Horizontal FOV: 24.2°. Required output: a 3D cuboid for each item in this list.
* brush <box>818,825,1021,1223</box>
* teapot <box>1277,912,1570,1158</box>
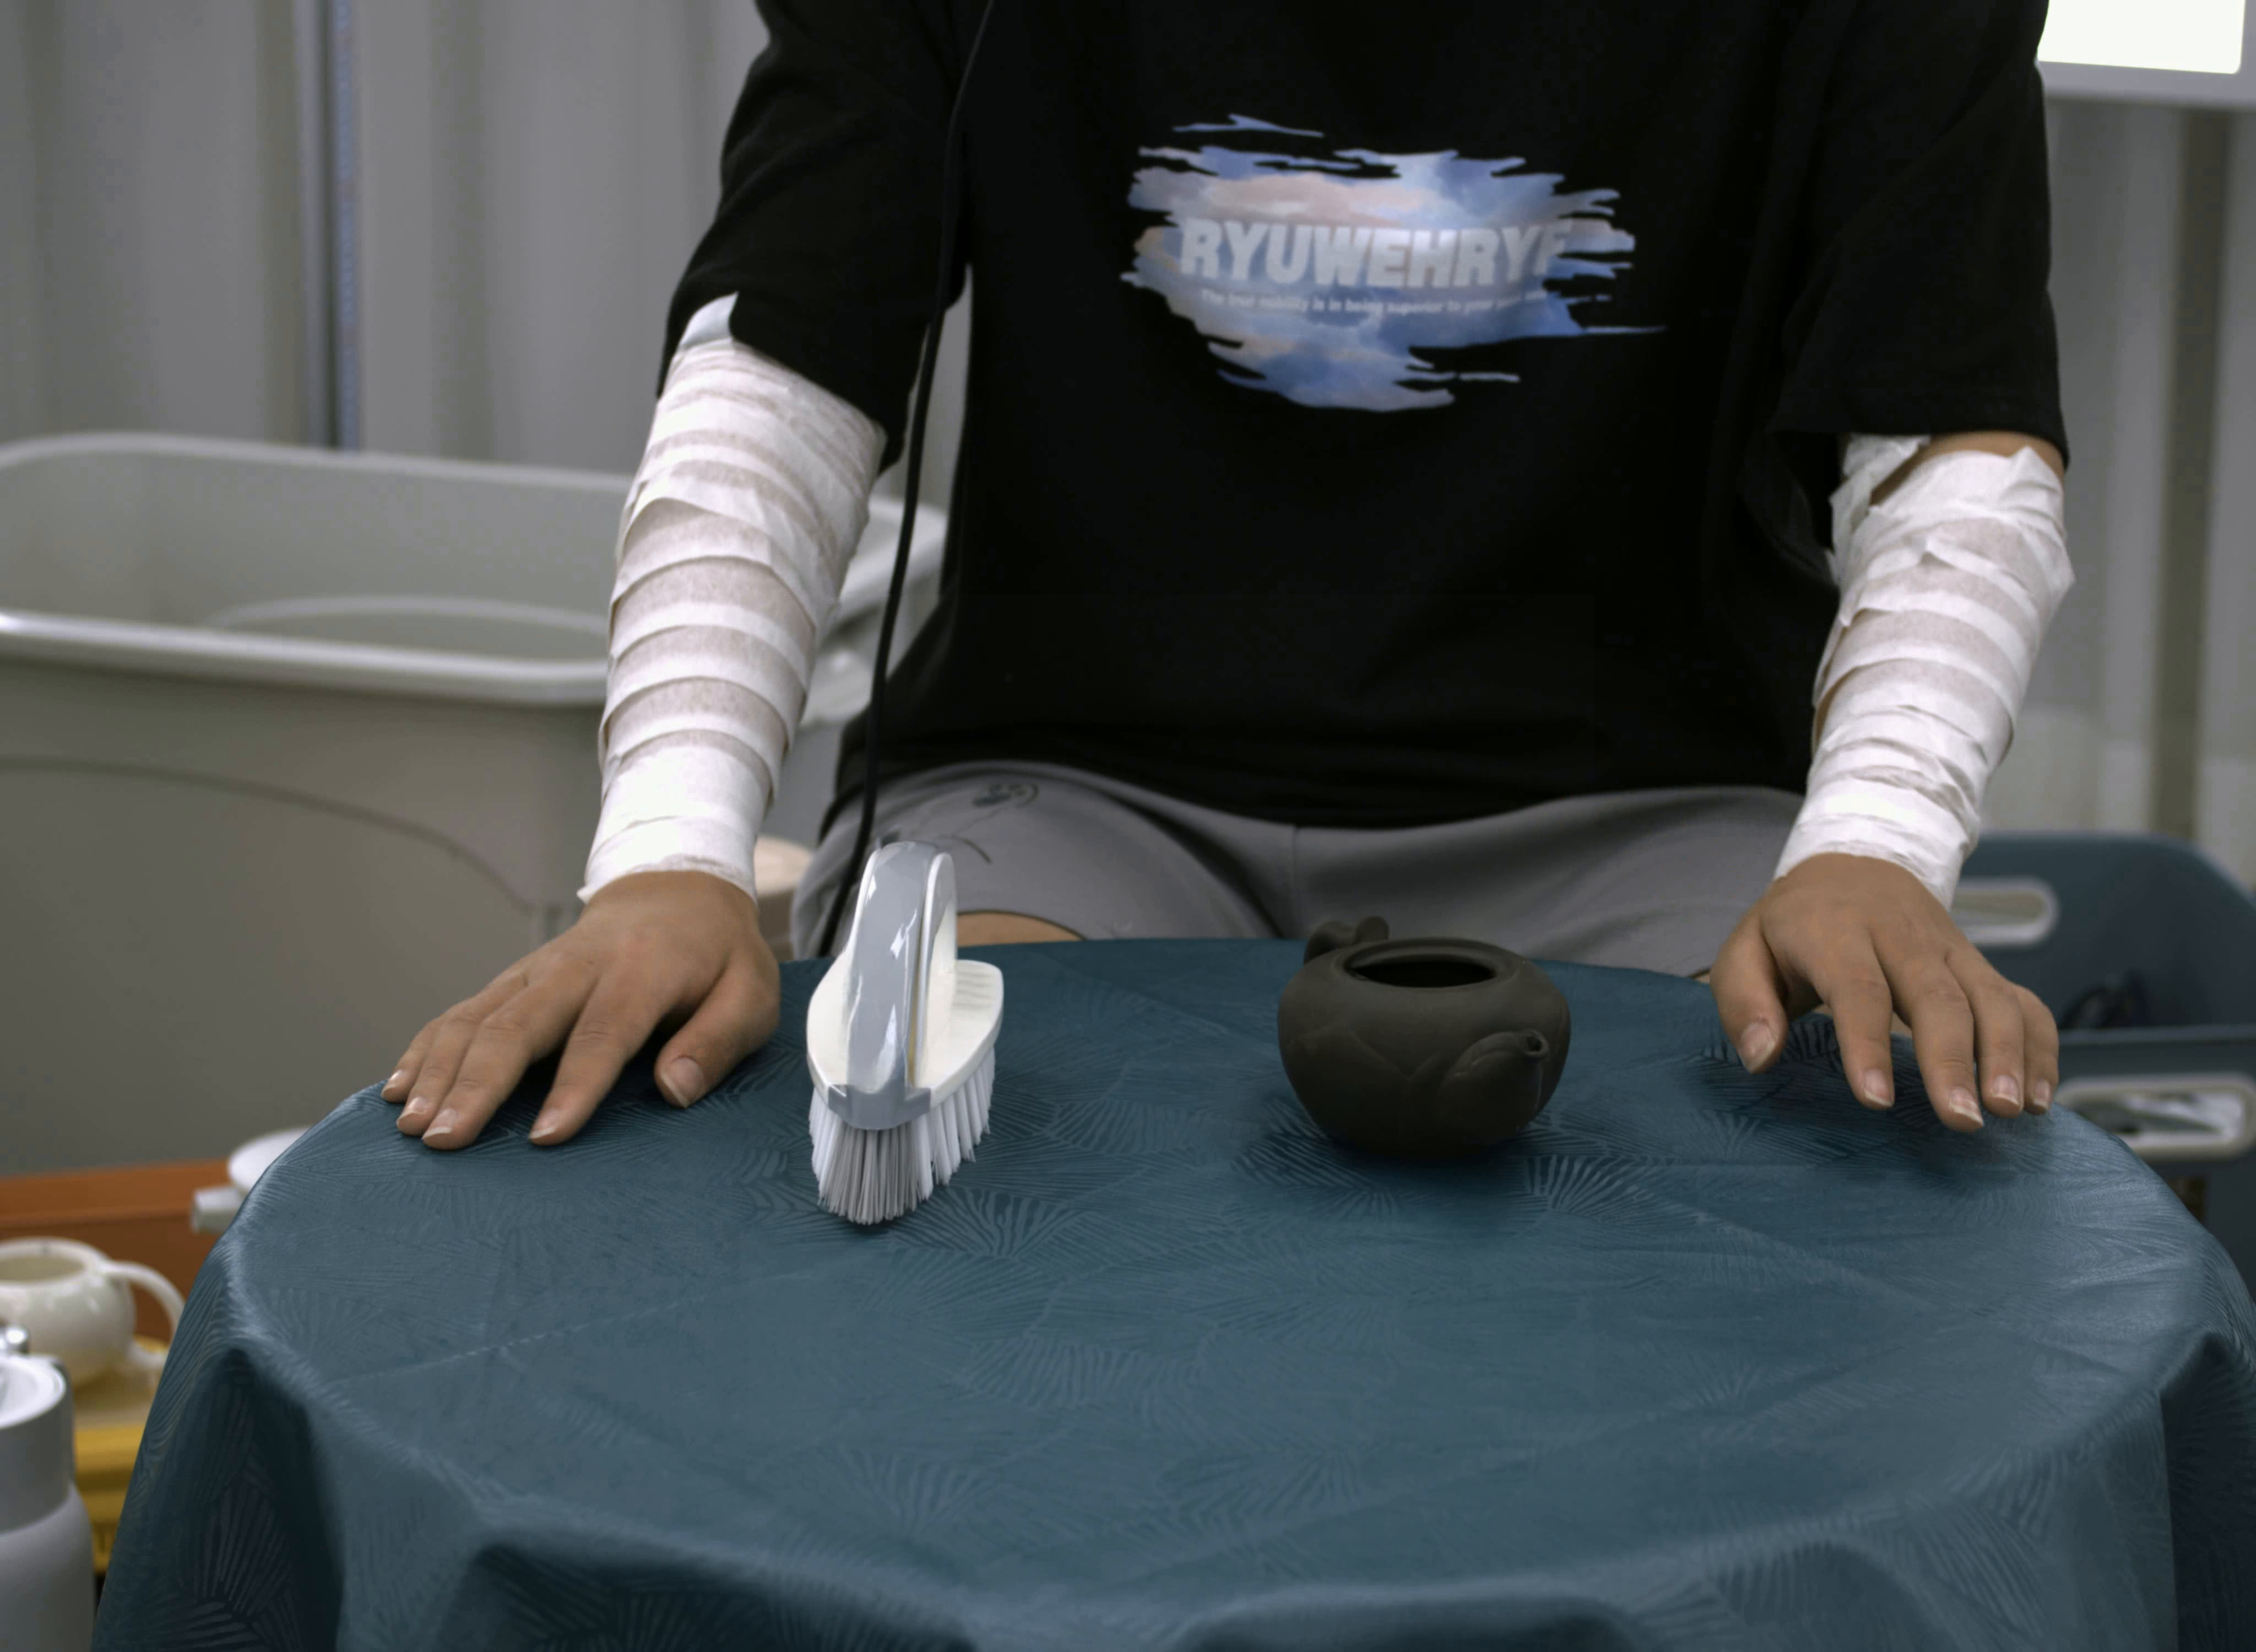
[{"bbox_3d":[-0.070,0.056,1.653,0.061,0.095,0.175,-3,17,5],"label":"brush"},{"bbox_3d":[0.092,0.067,1.670,0.092,0.065,0.152,-6,18,-24],"label":"teapot"}]
